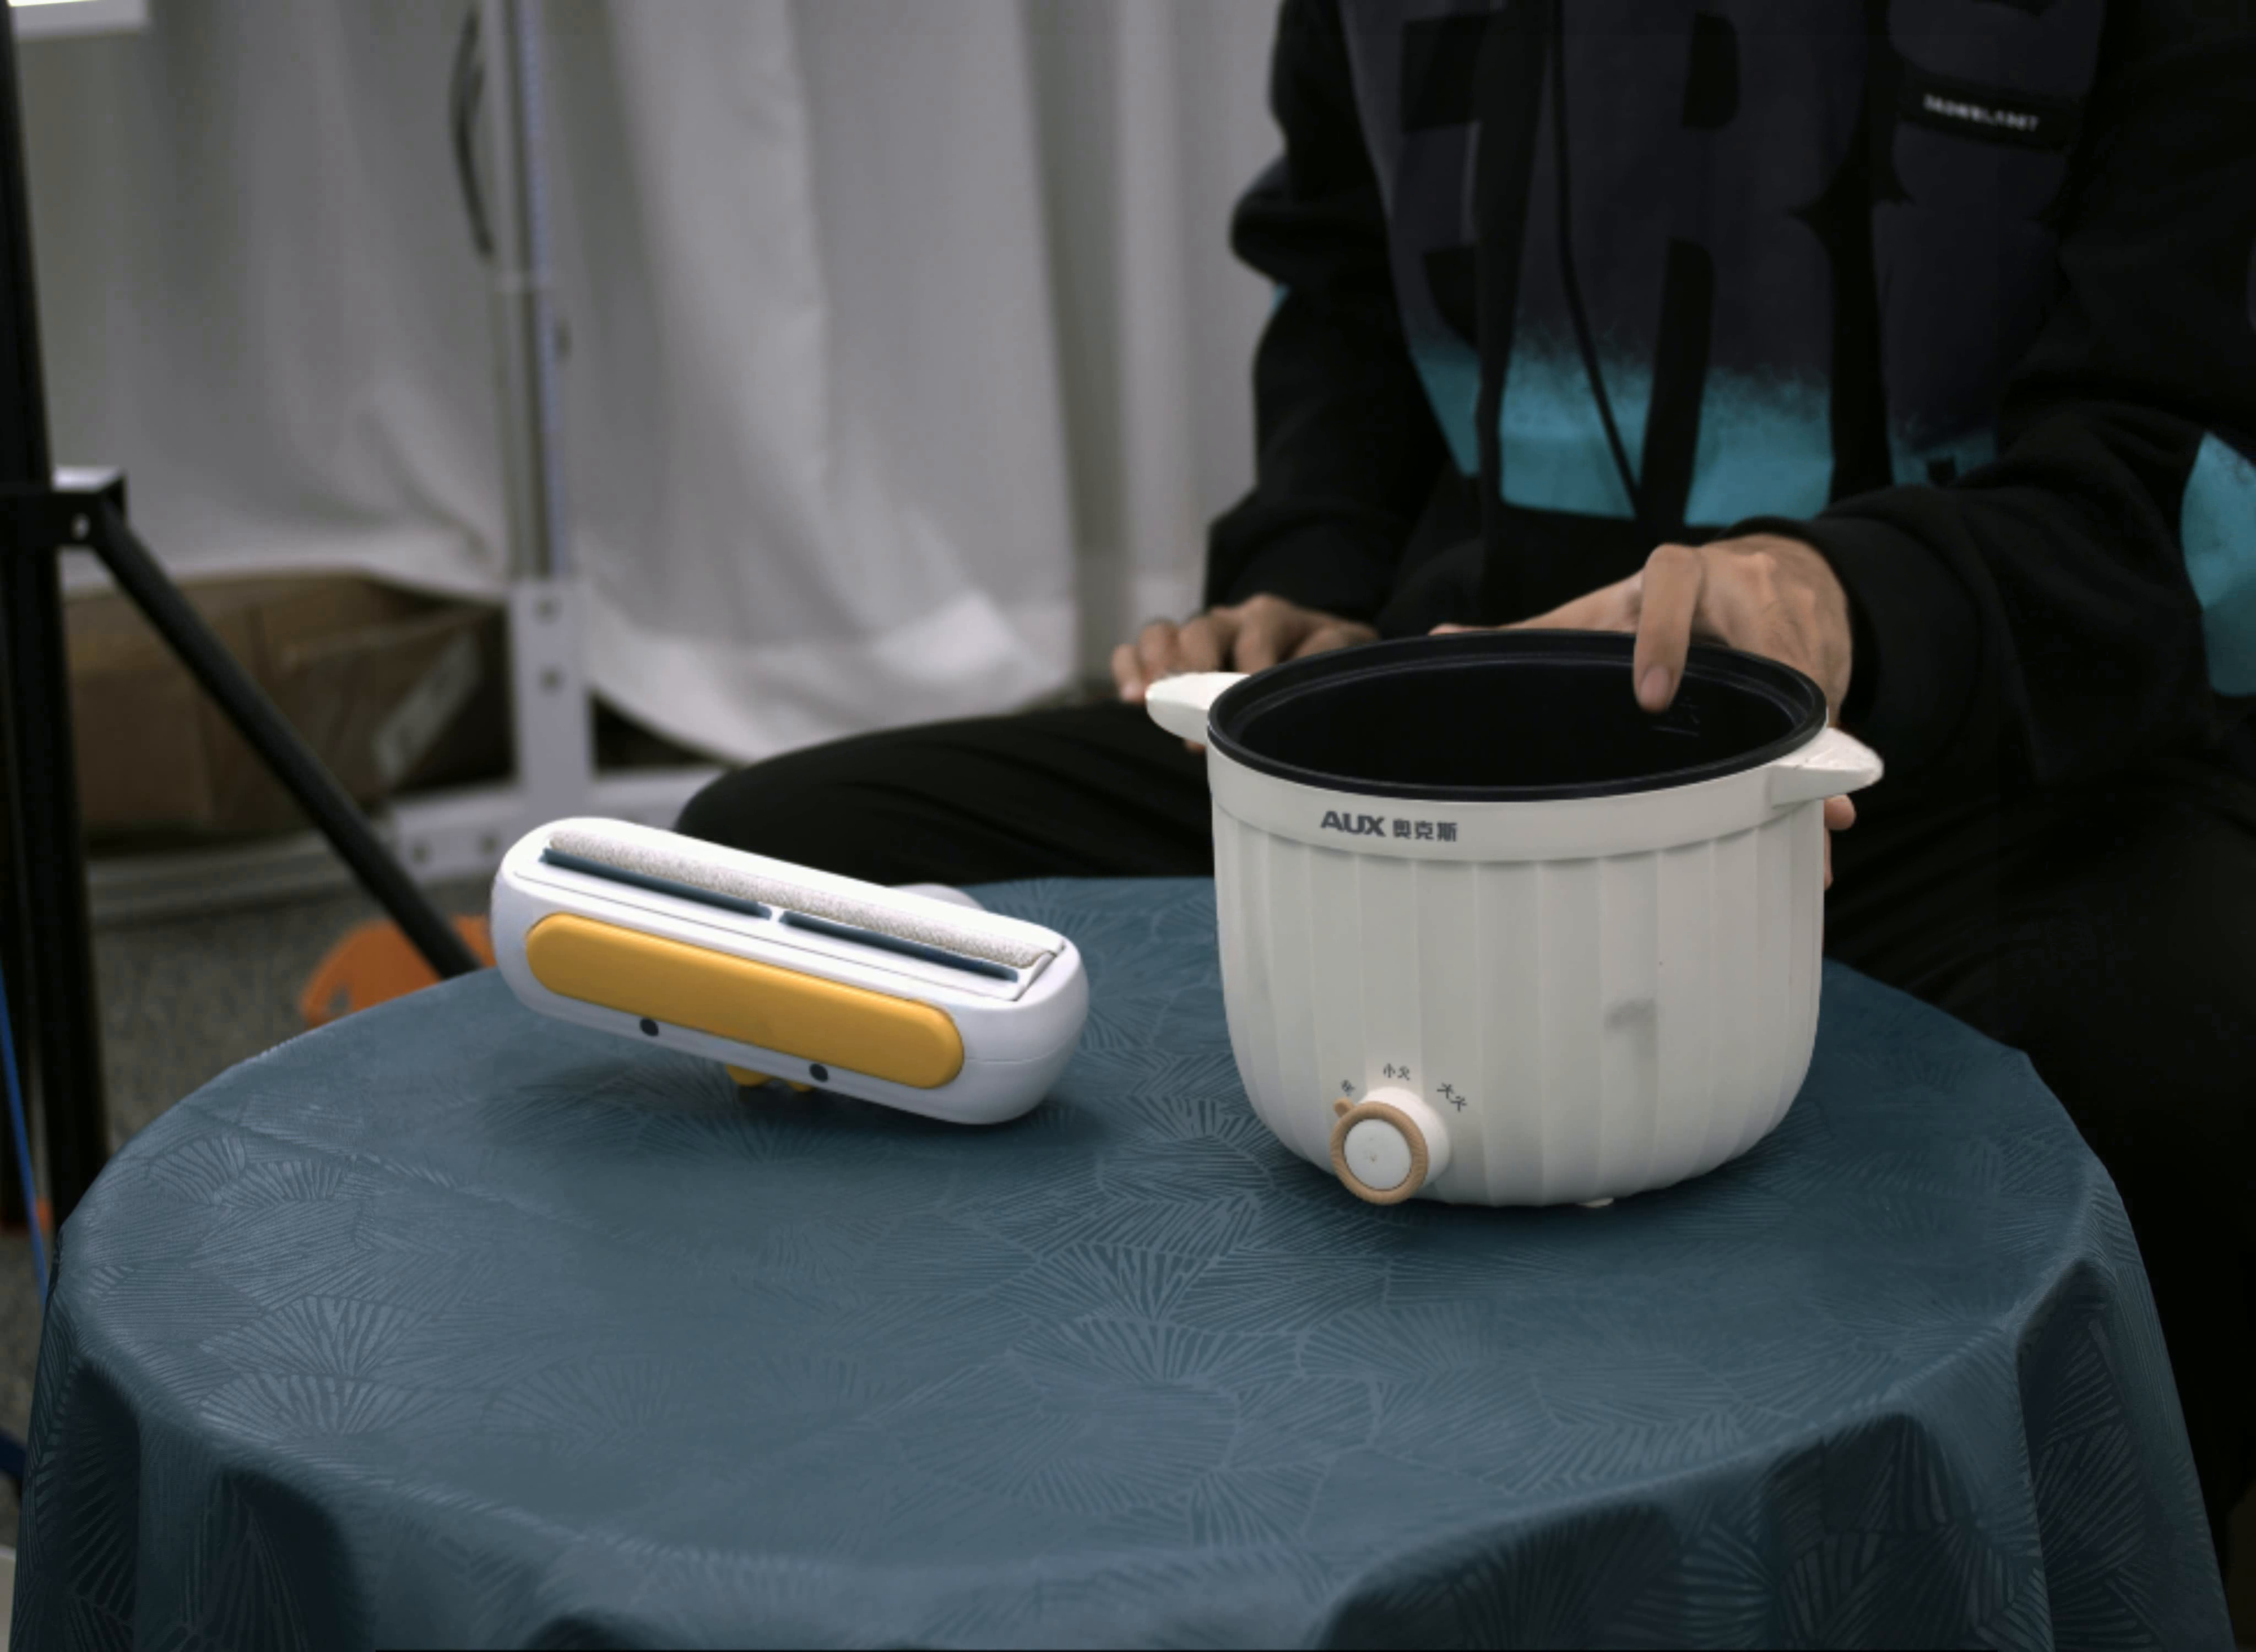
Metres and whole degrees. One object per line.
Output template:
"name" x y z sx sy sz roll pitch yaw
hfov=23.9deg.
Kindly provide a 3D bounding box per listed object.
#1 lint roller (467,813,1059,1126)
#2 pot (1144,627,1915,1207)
"lint roller" -0.091 0.036 1.704 0.195 0.074 0.189 10 18 23
"pot" 0.114 0.030 1.557 0.244 0.143 0.187 5 14 29
